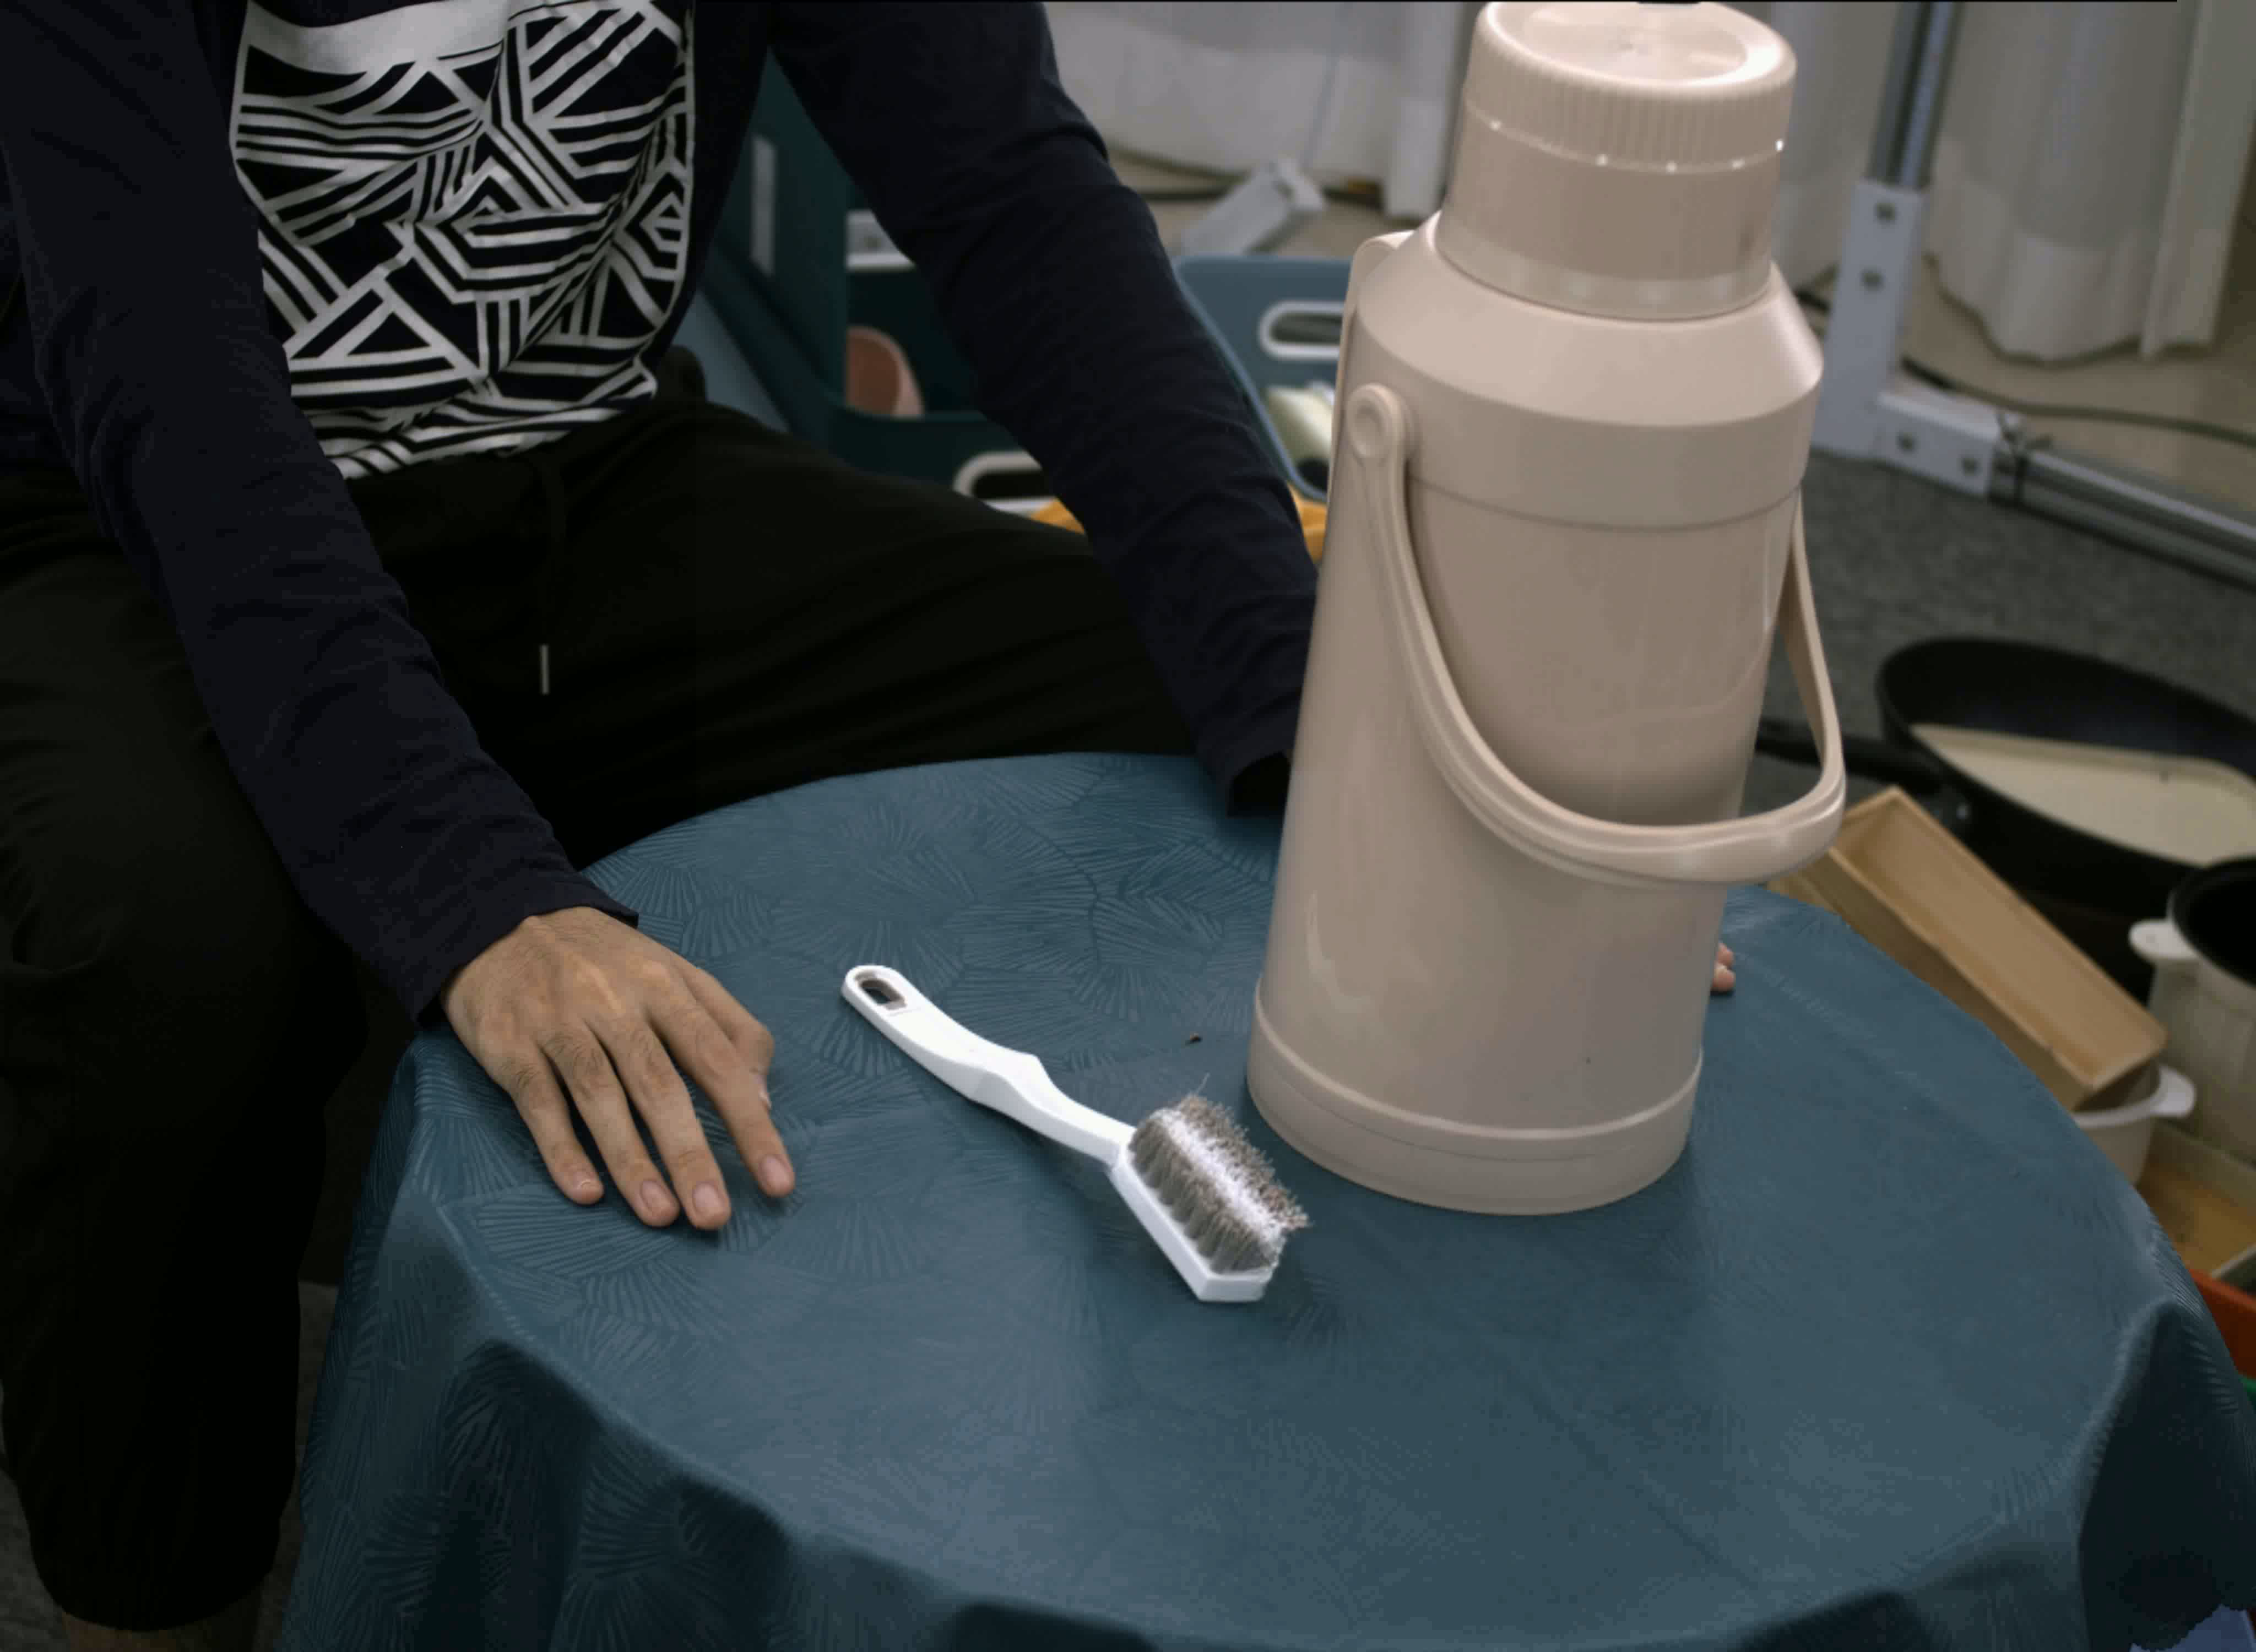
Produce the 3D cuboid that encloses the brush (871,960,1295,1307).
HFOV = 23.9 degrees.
[{"bbox_3d":[-0.021,0.088,1.820,0.034,0.050,0.246,-16,34,-28],"label":"brush"}]

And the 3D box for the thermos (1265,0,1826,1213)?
[{"bbox_3d":[0.137,-0.085,1.810,0.174,0.405,0.209,-13,33,-32],"label":"thermos"}]
